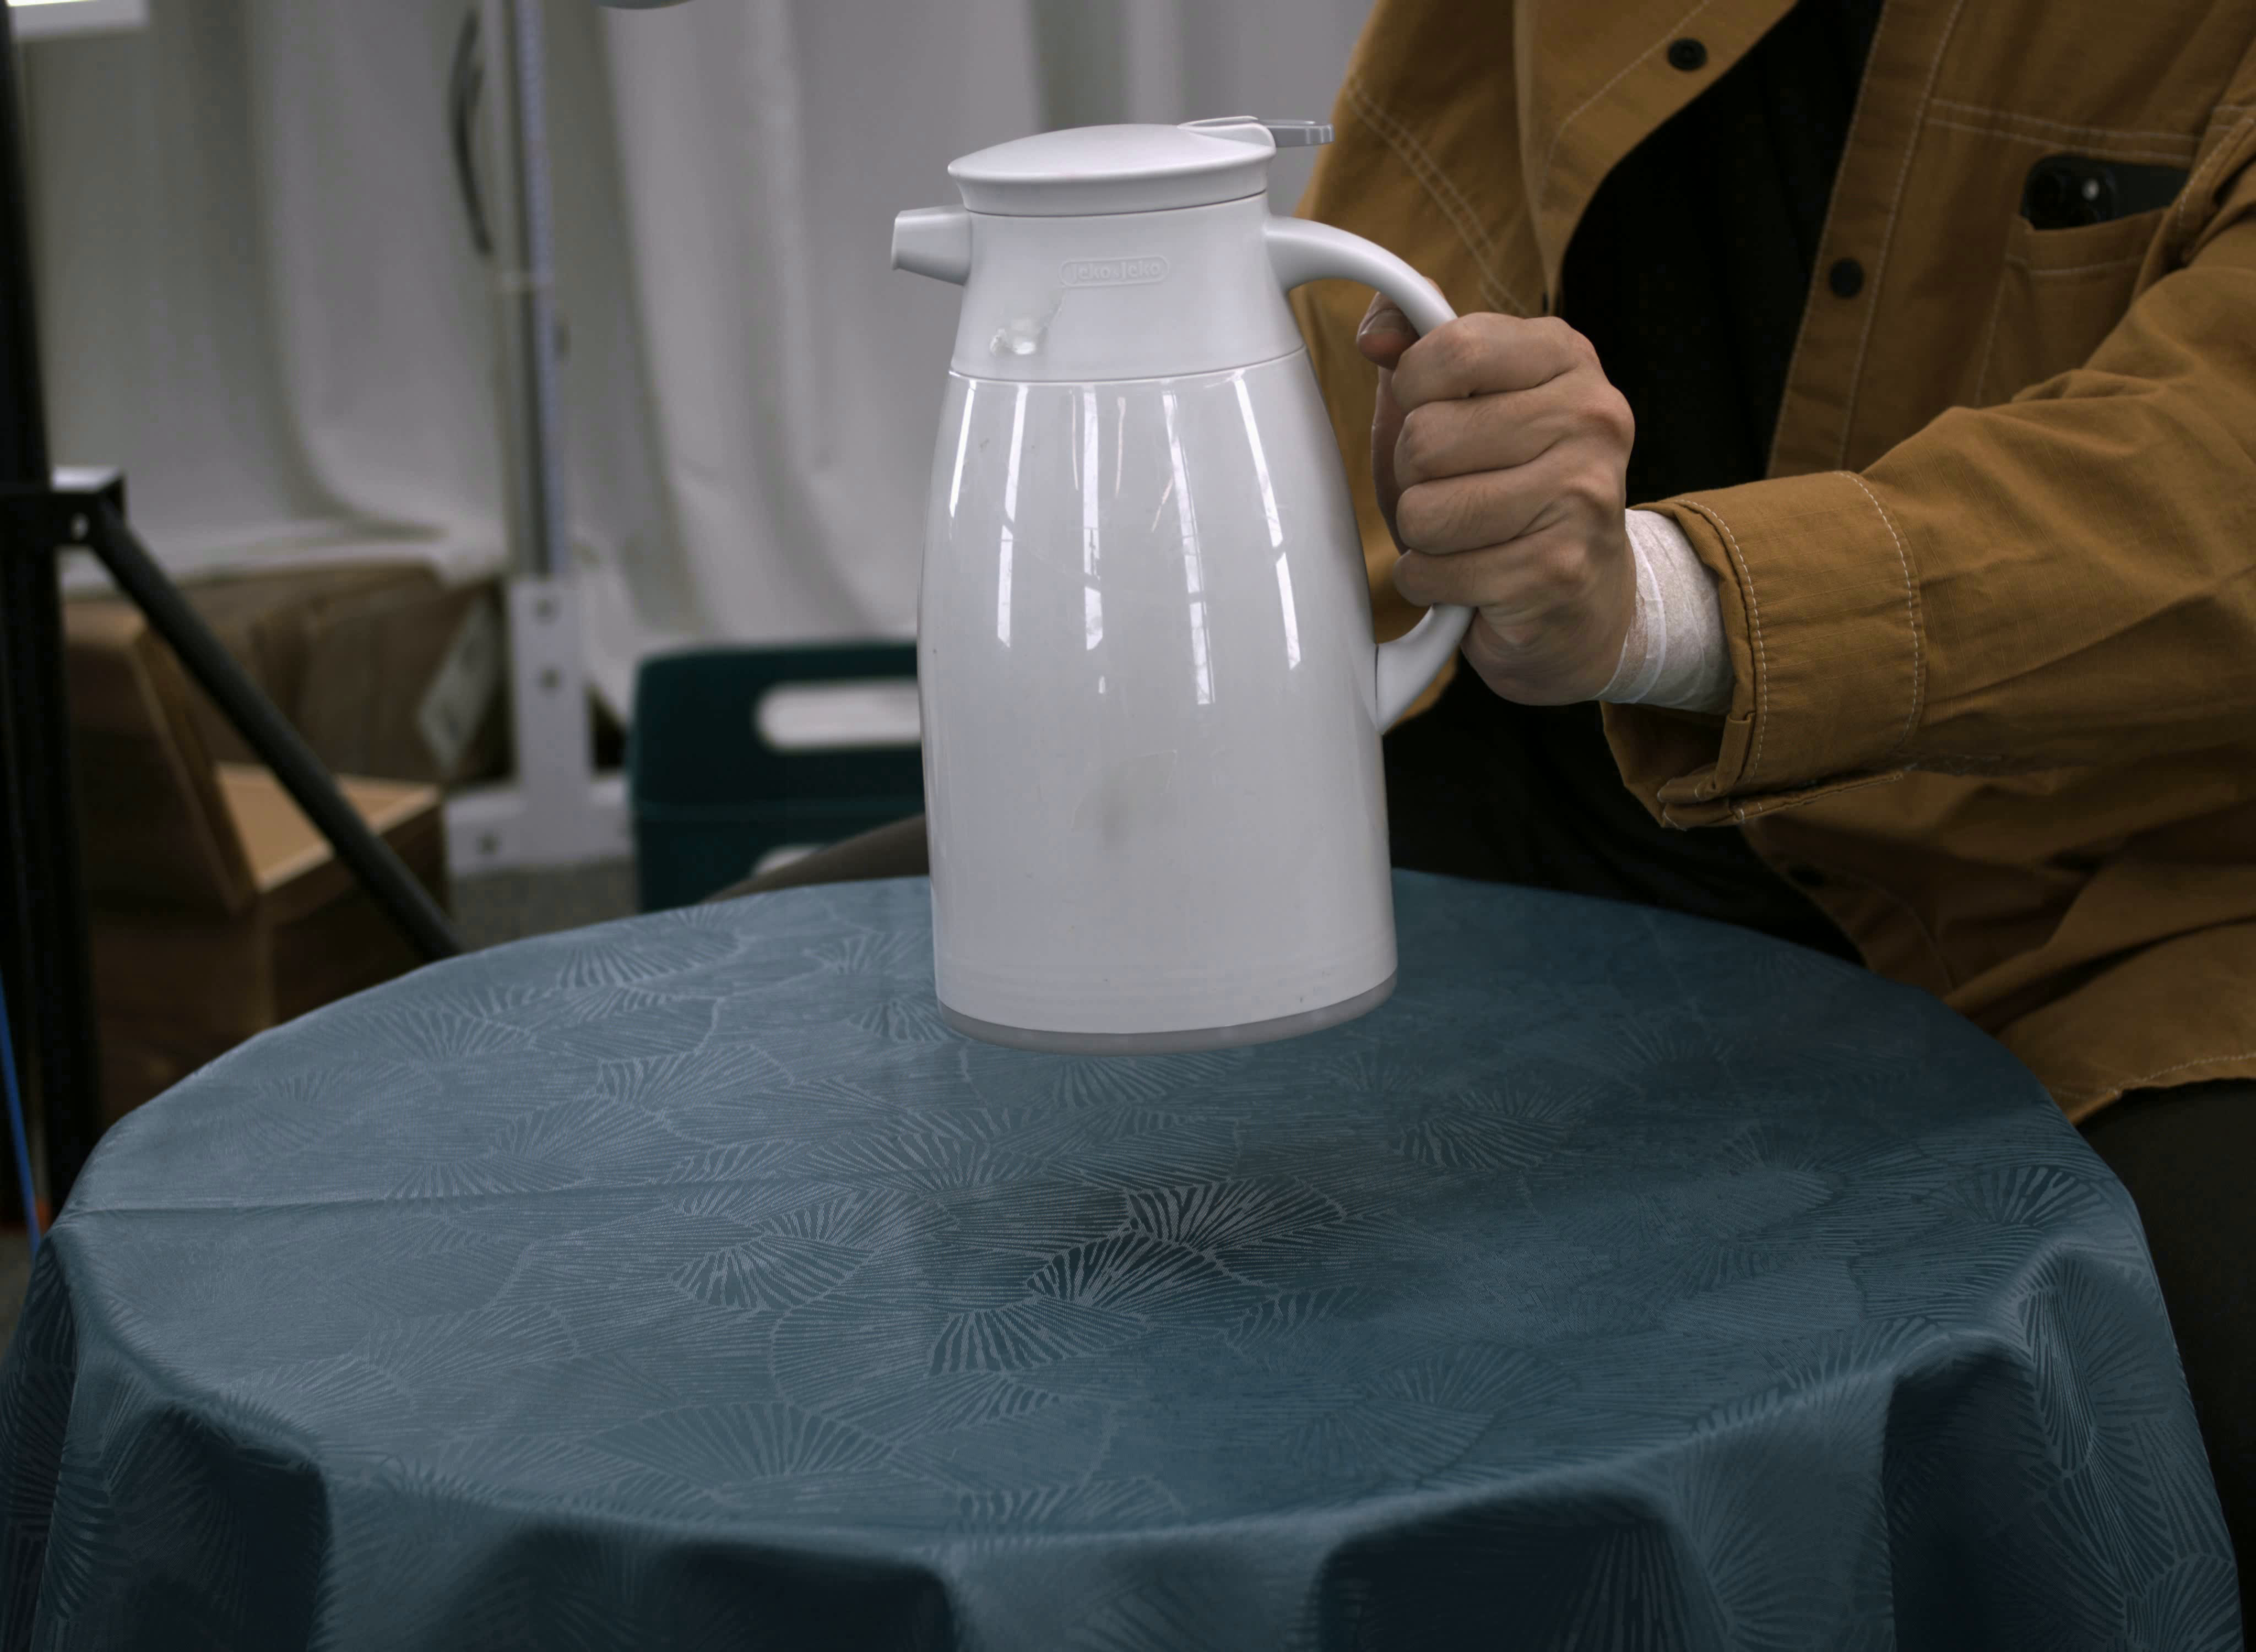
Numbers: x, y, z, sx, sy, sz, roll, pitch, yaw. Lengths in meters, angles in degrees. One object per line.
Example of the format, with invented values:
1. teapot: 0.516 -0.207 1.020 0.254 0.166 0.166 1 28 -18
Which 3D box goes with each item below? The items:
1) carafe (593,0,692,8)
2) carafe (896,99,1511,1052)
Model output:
1. carafe: -0.103 -0.328 1.557 0.122 0.172 0.273 -26 11 -23
2. carafe: 0.024 -0.075 1.482 0.167 0.249 0.132 -3 12 4
